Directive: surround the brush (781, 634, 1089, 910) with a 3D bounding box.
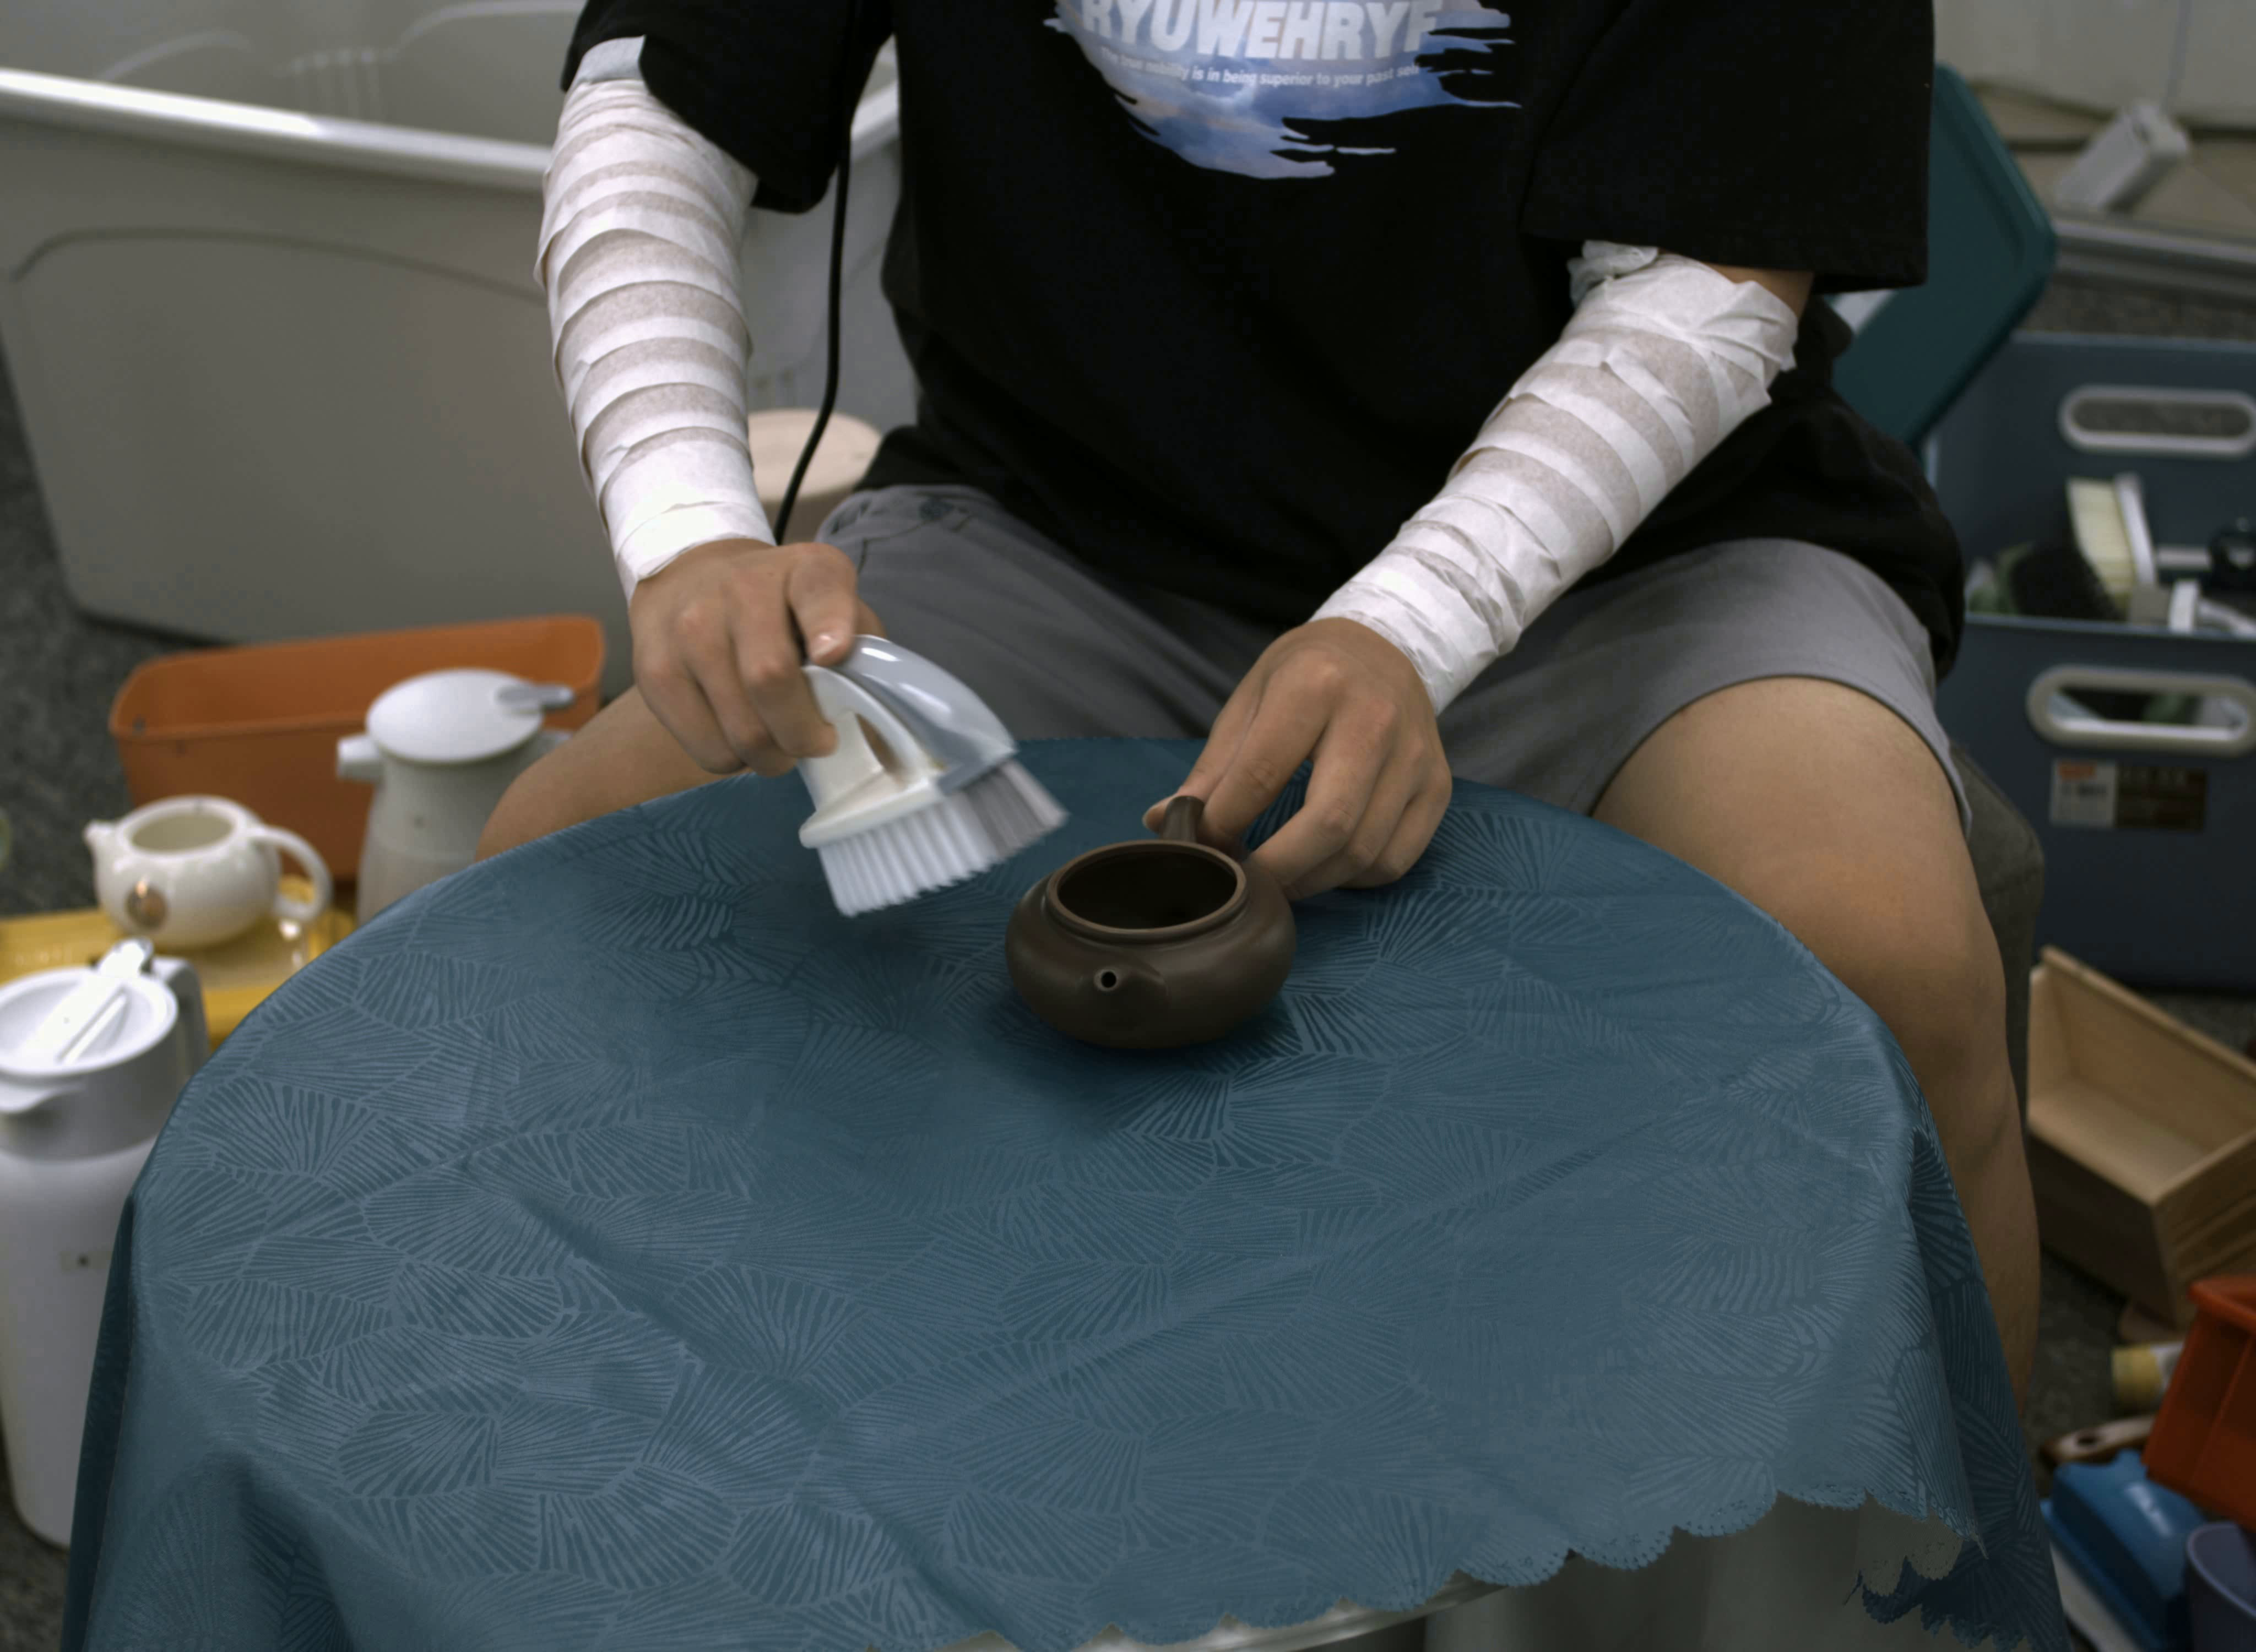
[{"bbox_3d":[-0.071,-0.027,1.947,0.062,0.094,0.174,-38,11,-20],"label":"brush"}]

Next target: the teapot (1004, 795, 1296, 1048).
[{"bbox_3d":[0.008,0.037,1.966,0.102,0.053,0.156,1,27,5],"label":"teapot"}]
